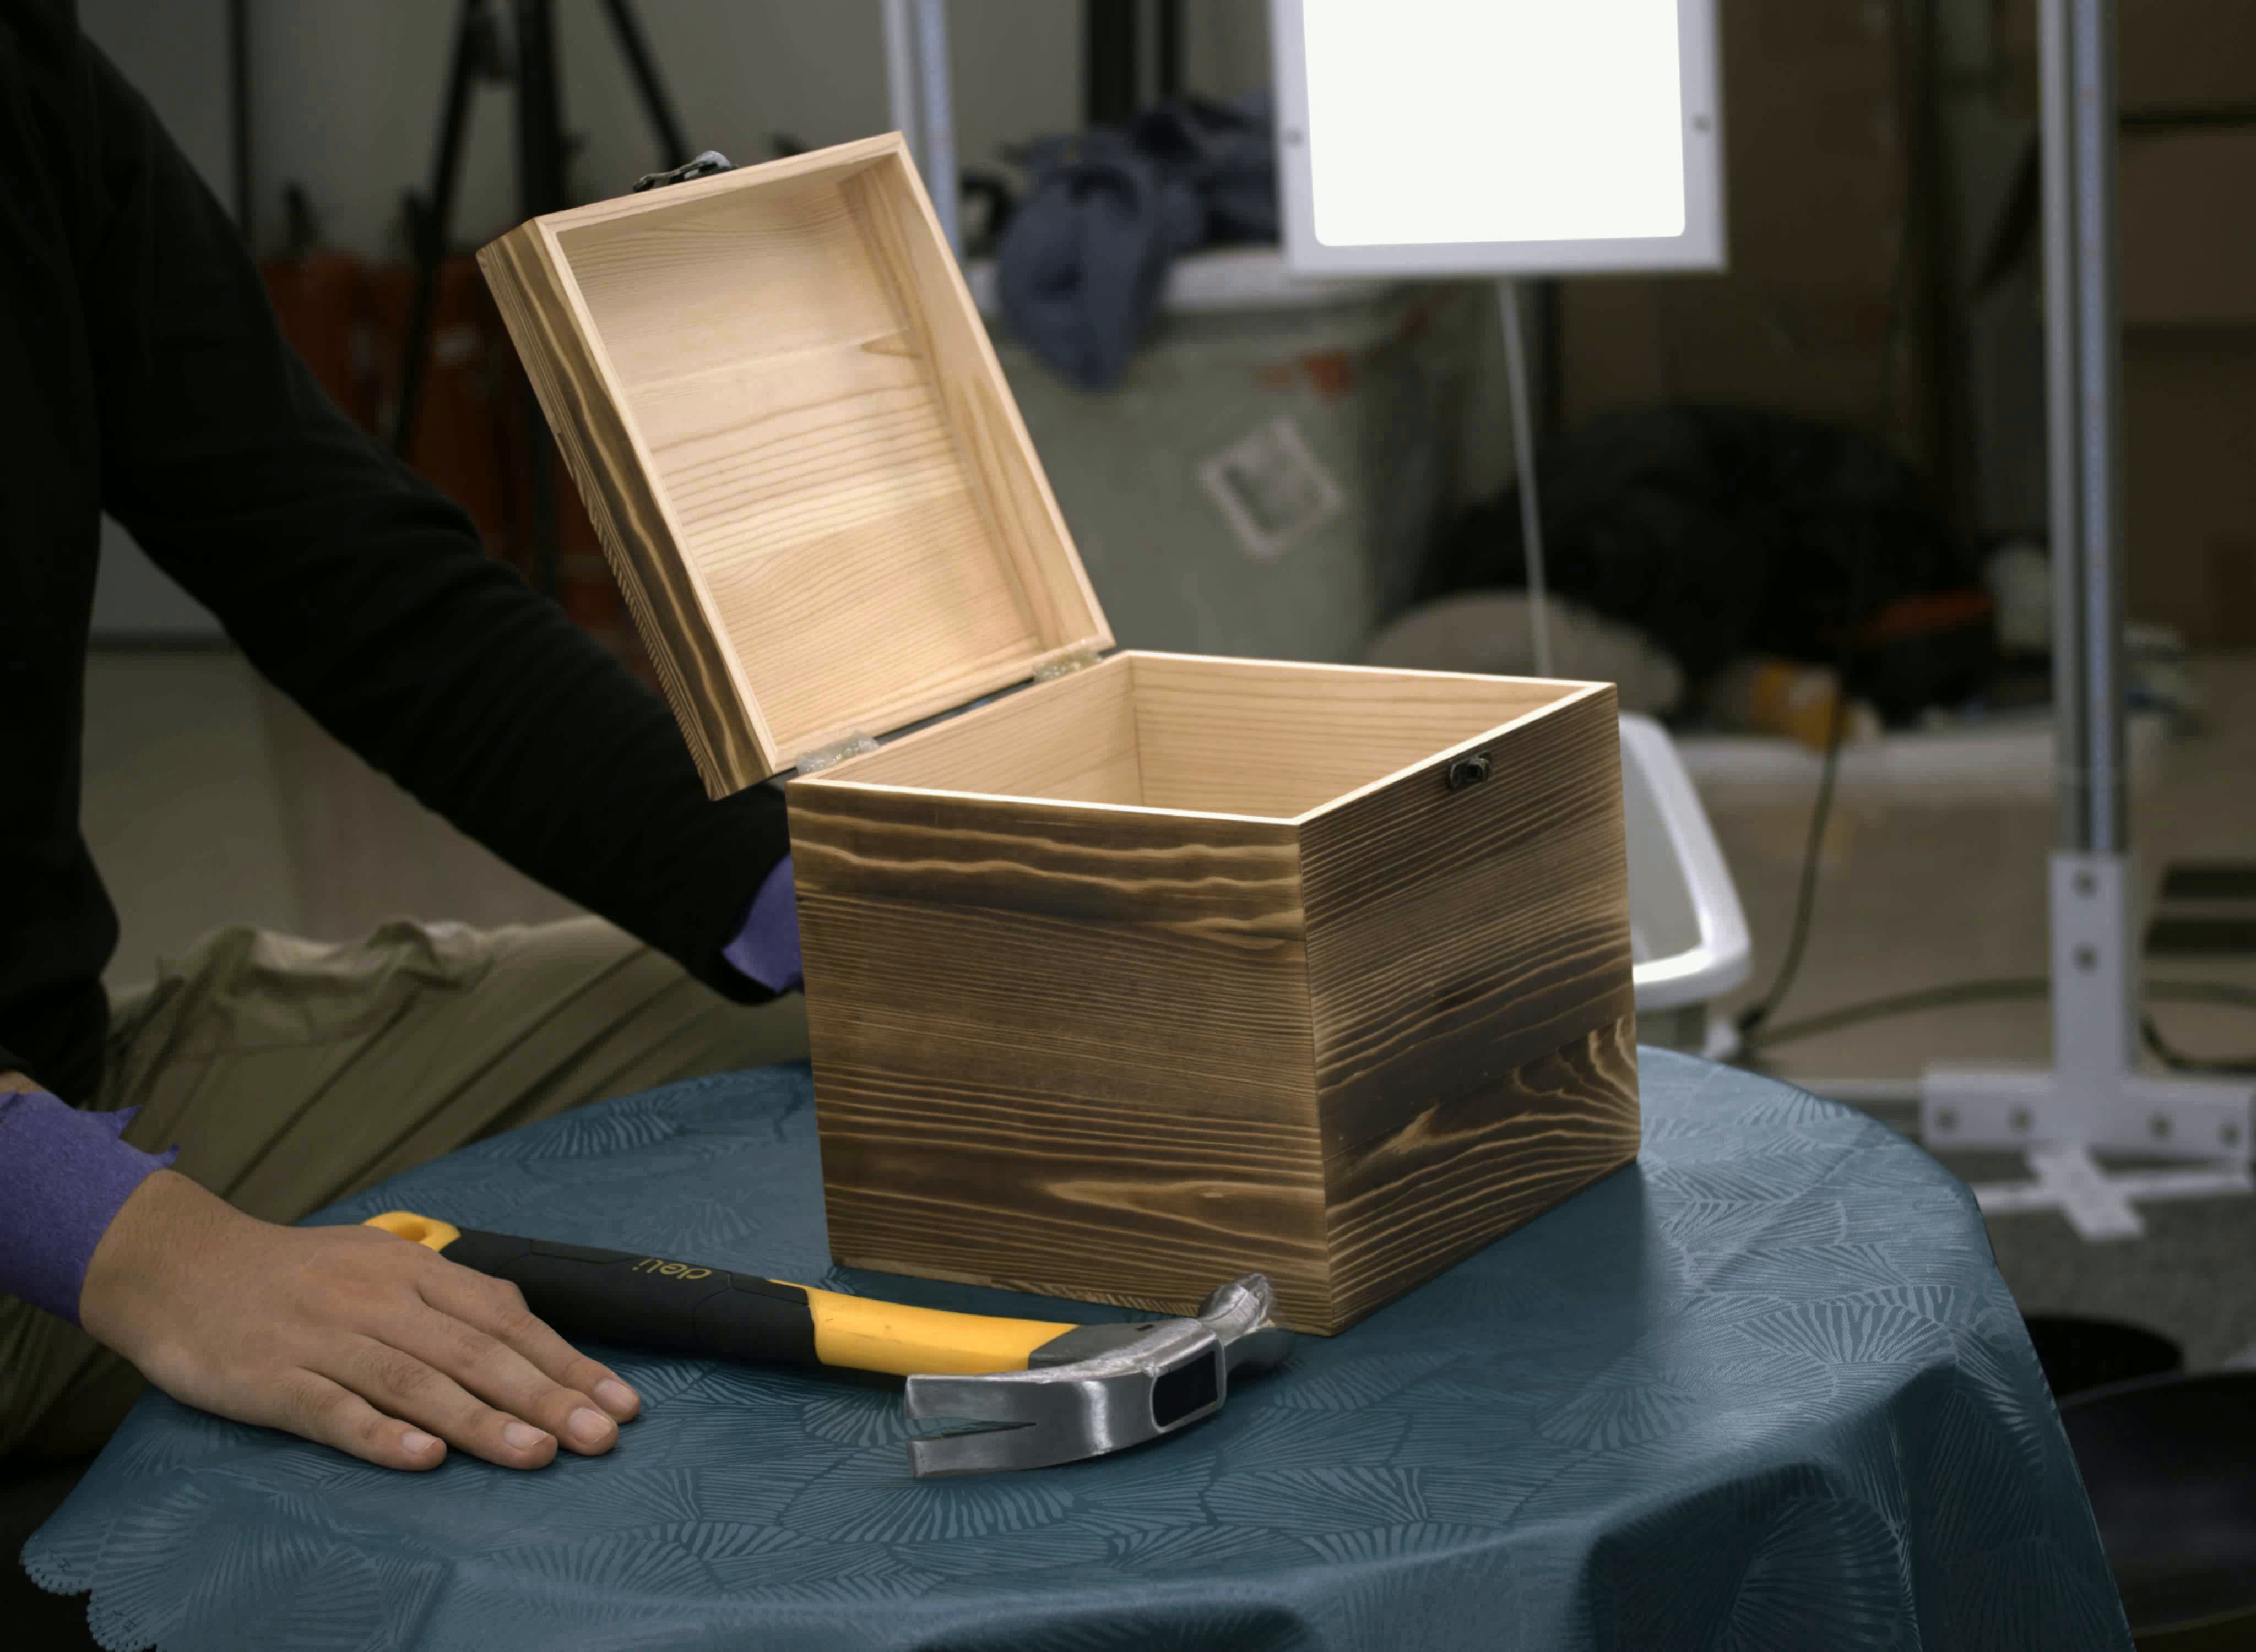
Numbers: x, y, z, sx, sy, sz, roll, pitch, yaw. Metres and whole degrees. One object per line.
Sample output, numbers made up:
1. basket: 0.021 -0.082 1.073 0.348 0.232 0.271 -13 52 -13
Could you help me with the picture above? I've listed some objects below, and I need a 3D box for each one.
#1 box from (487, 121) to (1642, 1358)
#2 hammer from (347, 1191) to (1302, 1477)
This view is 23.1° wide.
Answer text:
1. box: -0.019 -0.044 1.854 0.329 0.377 0.203 4 17 36
2. hammer: -0.118 0.152 1.759 0.345 0.032 0.128 7 19 37
